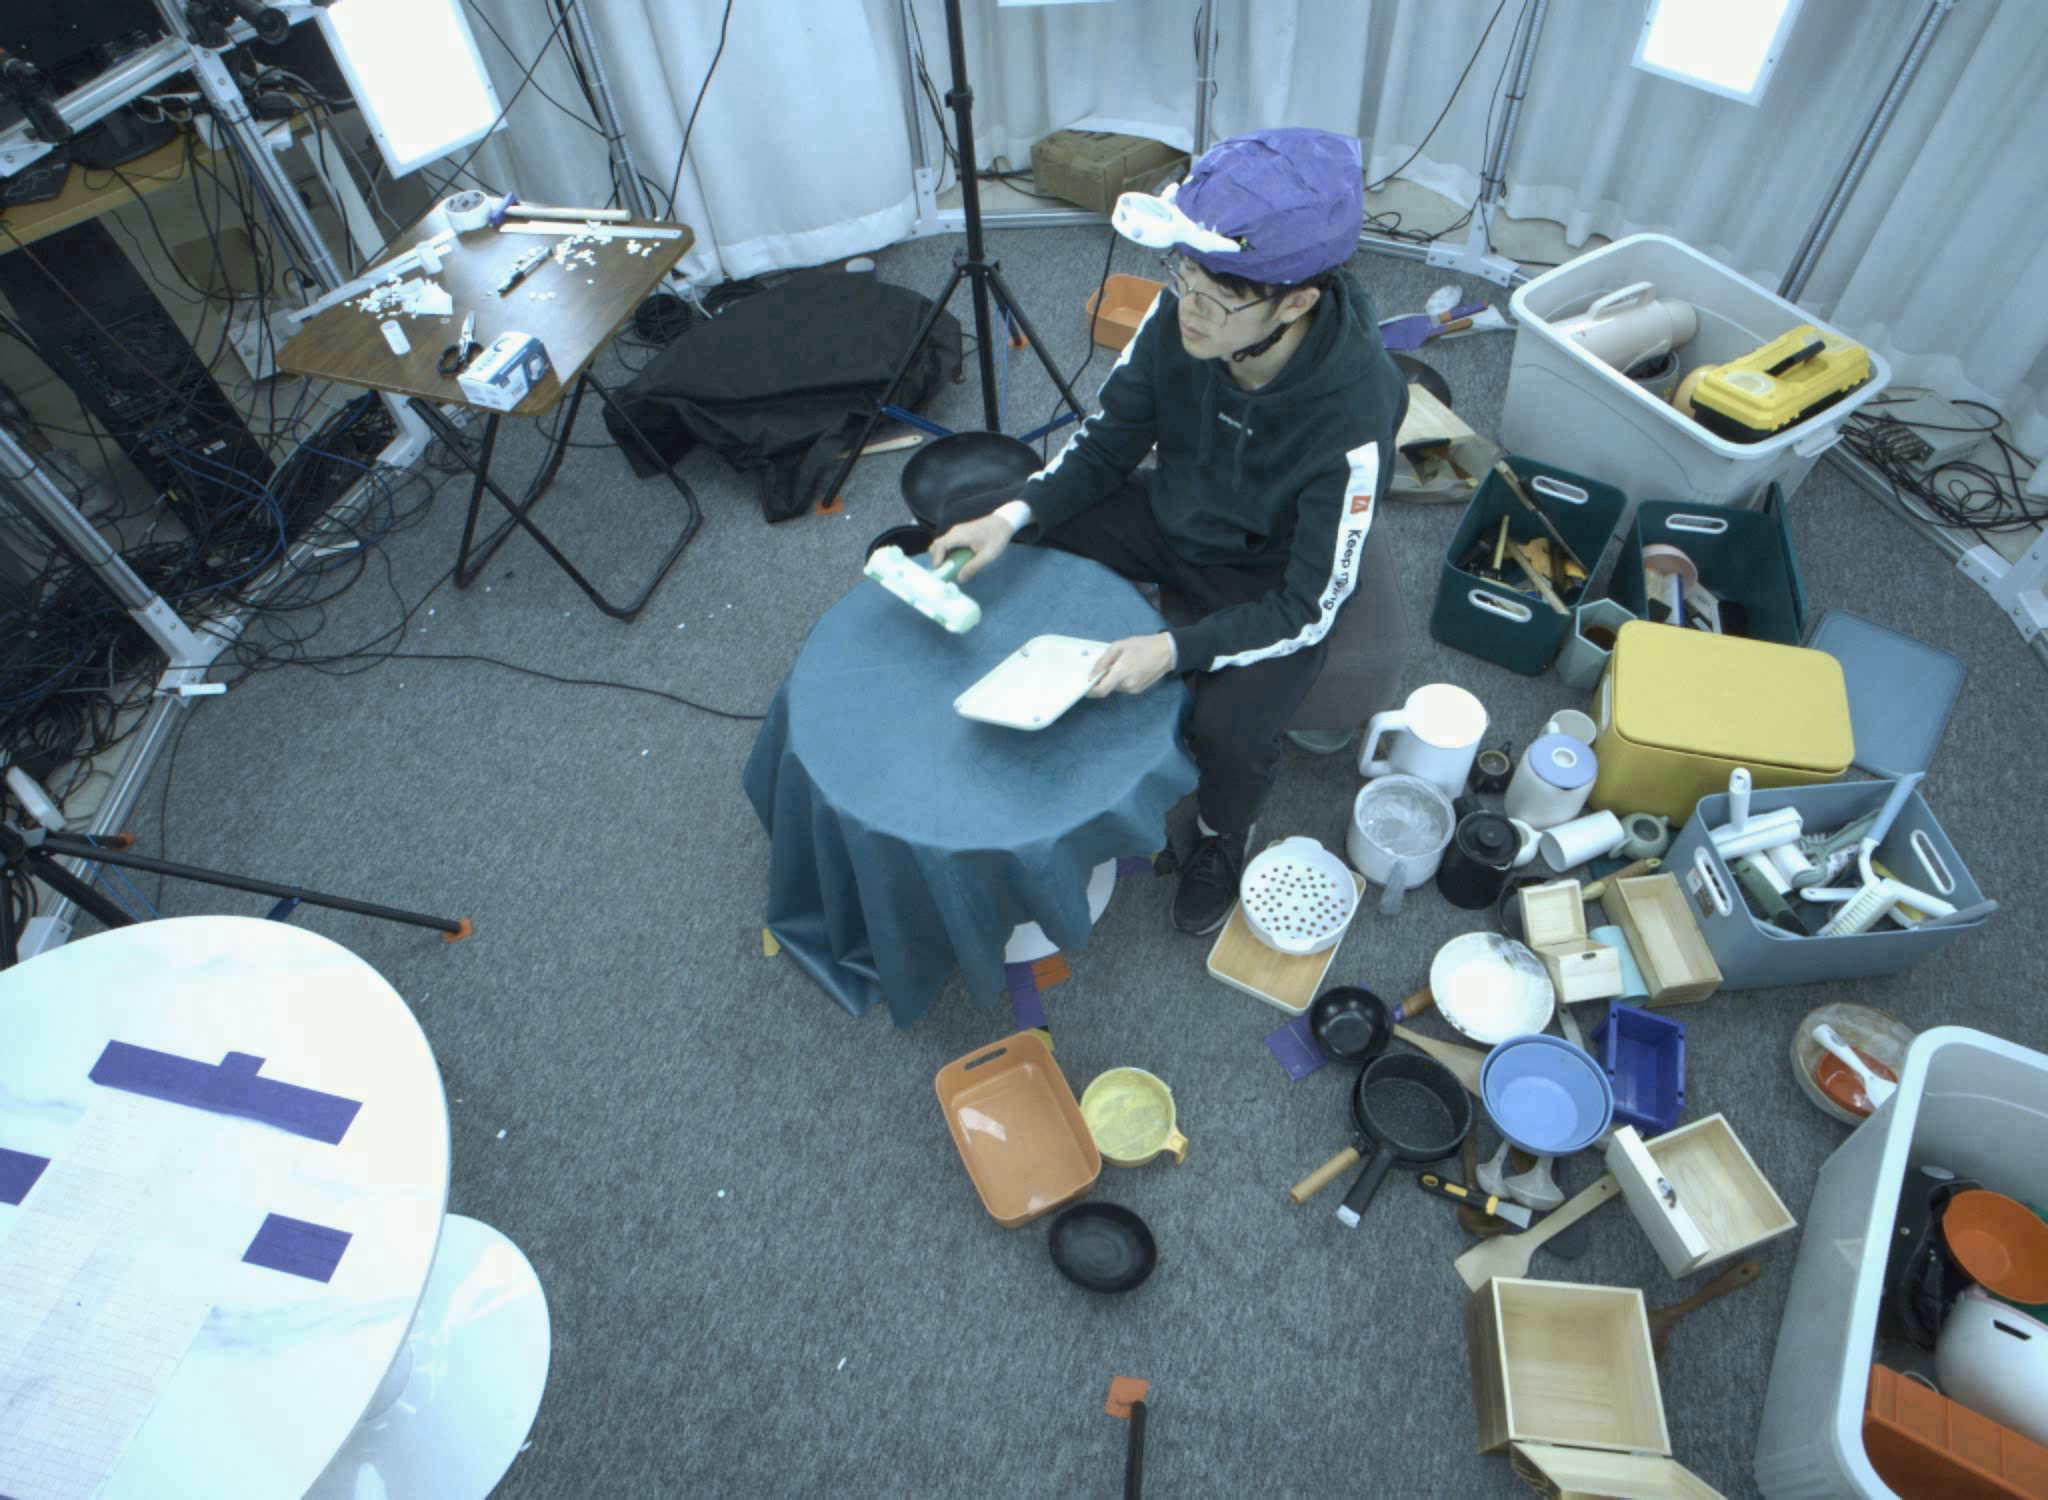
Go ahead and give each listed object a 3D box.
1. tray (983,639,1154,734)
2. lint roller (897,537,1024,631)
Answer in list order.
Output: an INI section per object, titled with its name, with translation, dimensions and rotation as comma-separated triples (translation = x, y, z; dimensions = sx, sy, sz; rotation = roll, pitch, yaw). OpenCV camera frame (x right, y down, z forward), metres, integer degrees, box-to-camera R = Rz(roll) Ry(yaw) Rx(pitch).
[tray]
translation = 0.067, -0.094, 1.779
dimensions = 0.167, 0.018, 0.242
rotation = 15, 39, 34
[lint roller]
translation = -0.068, -0.288, 1.876
dimensions = 0.195, 0.083, 0.184
rotation = 37, 68, 22
